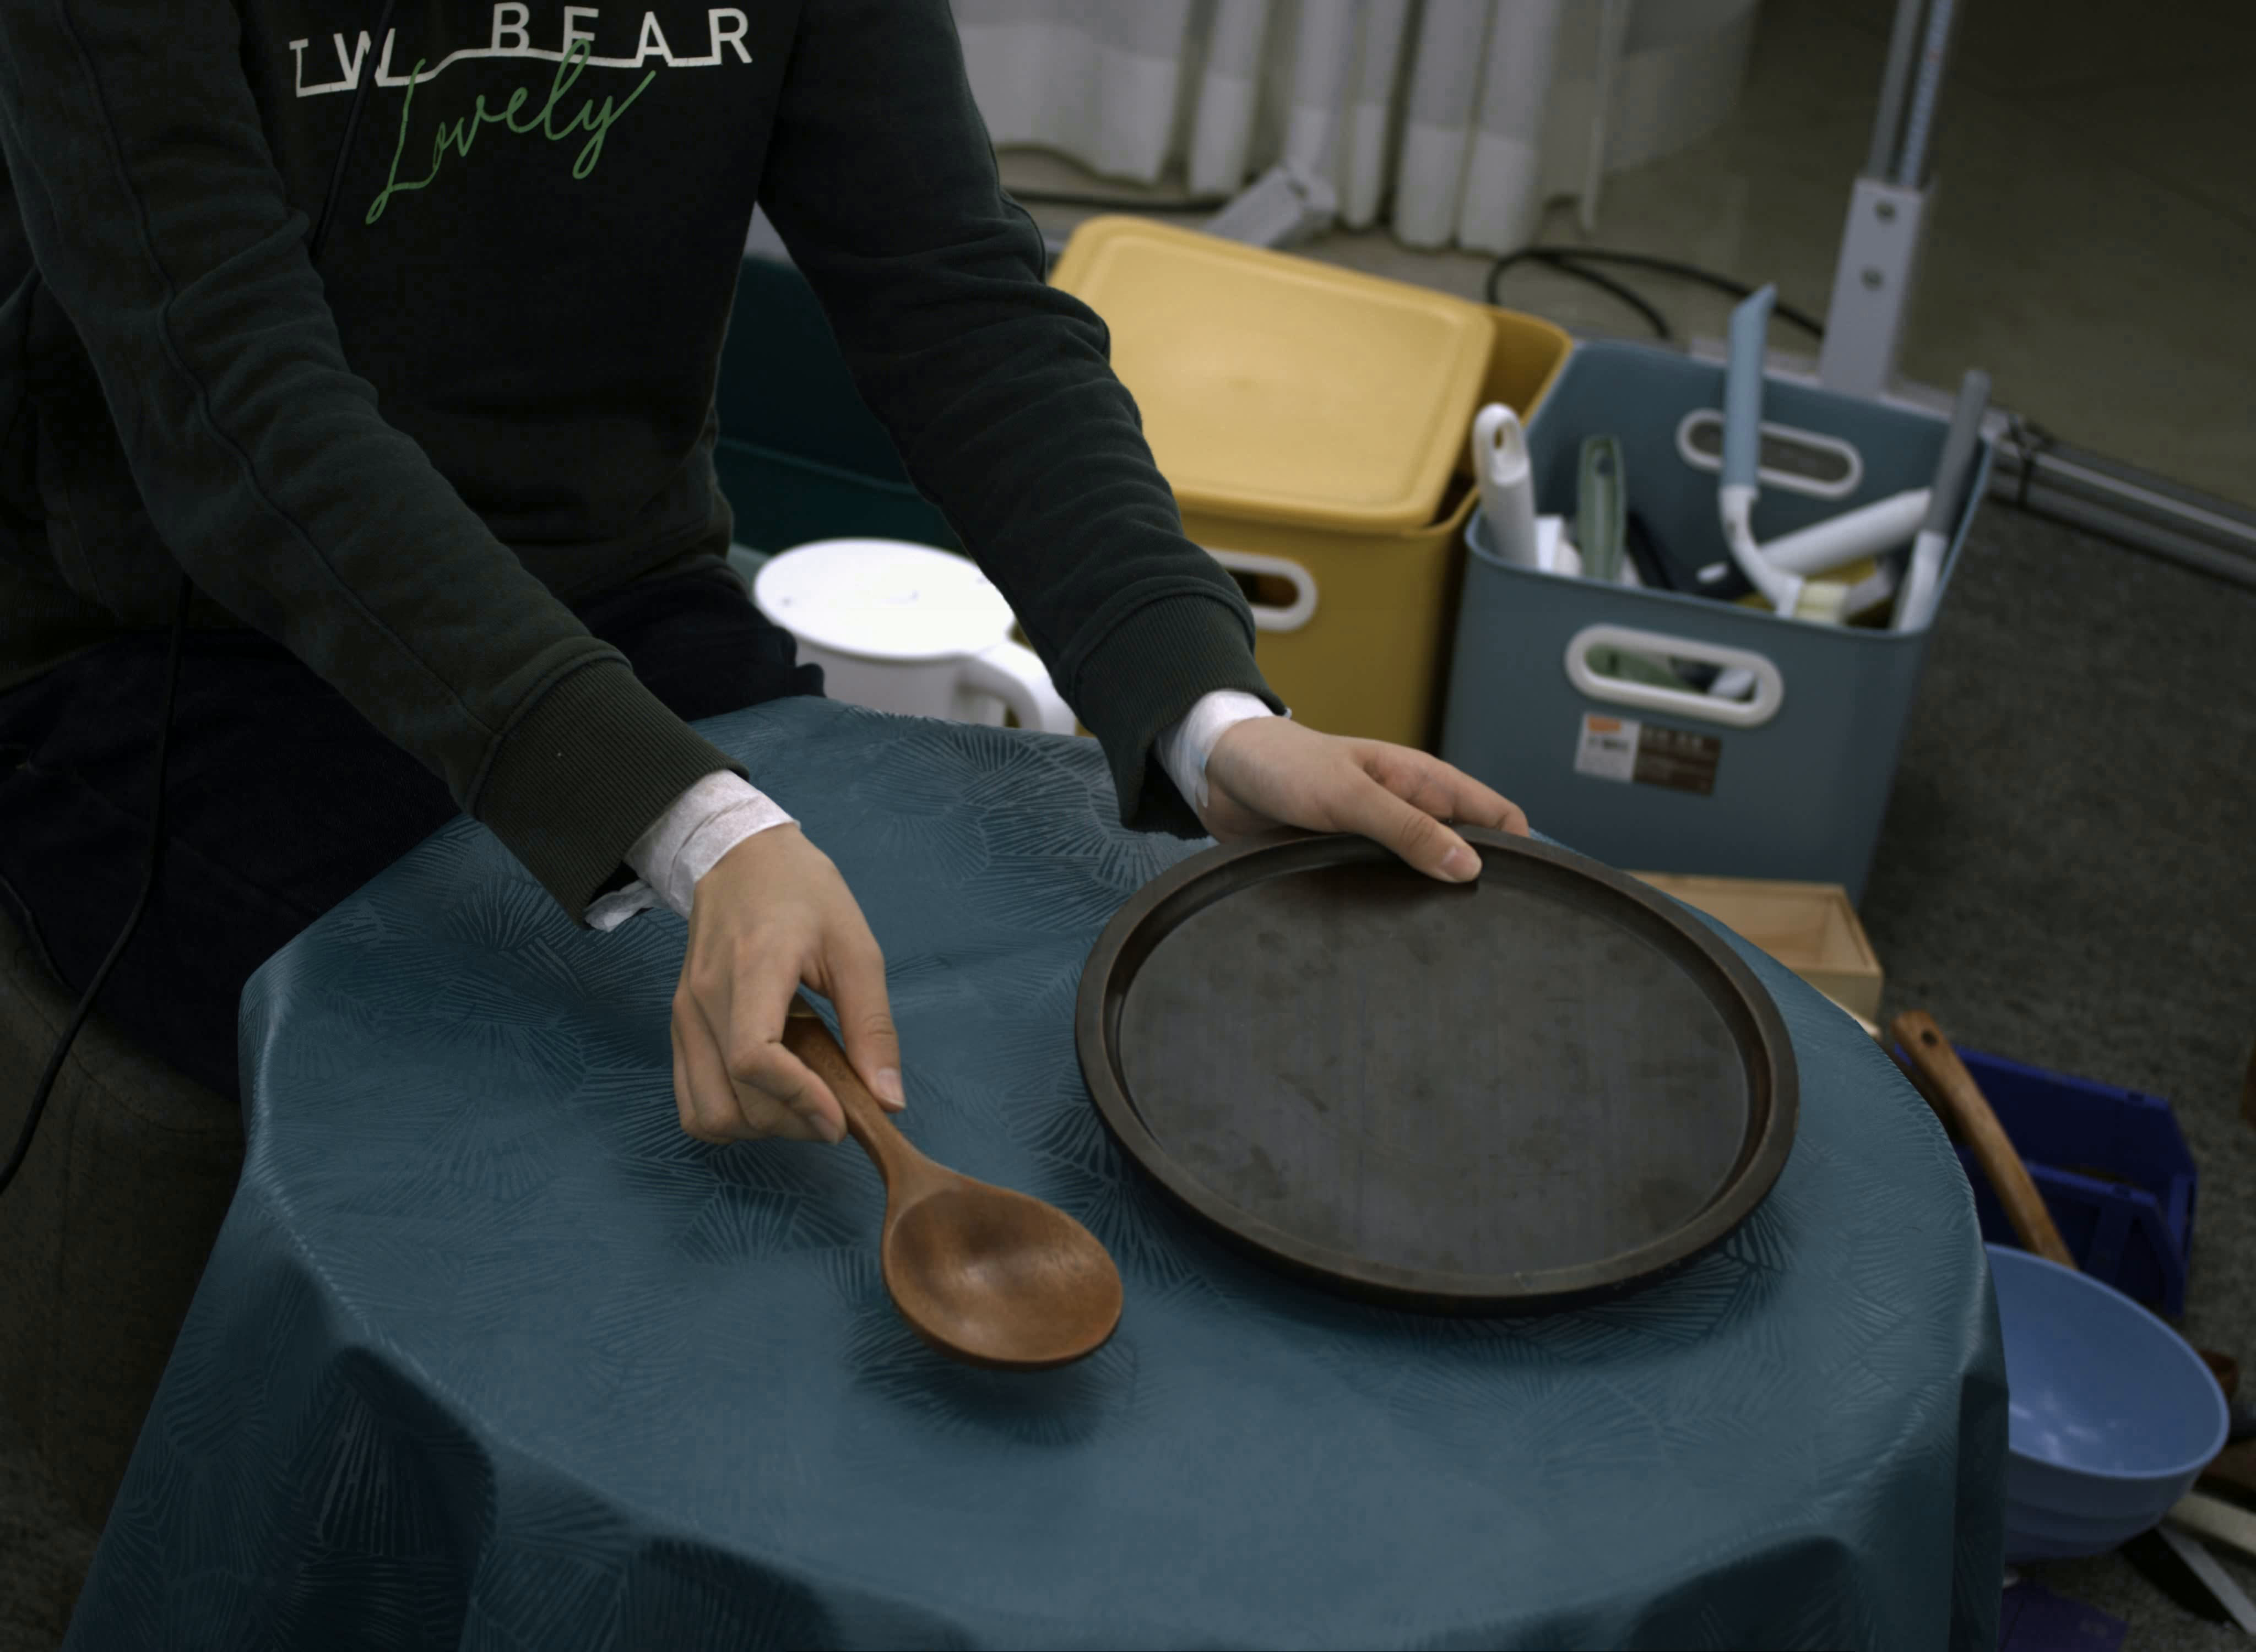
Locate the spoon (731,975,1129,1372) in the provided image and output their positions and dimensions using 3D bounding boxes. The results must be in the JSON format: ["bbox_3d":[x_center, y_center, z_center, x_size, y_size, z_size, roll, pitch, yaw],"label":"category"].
[{"bbox_3d":[-0.072,0.113,1.737,0.075,0.017,0.218,-17,41,-26],"label":"spoon"}]

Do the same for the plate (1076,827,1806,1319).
[{"bbox_3d":[0.107,0.083,1.829,0.254,0.029,0.257,5,37,-4],"label":"plate"}]
